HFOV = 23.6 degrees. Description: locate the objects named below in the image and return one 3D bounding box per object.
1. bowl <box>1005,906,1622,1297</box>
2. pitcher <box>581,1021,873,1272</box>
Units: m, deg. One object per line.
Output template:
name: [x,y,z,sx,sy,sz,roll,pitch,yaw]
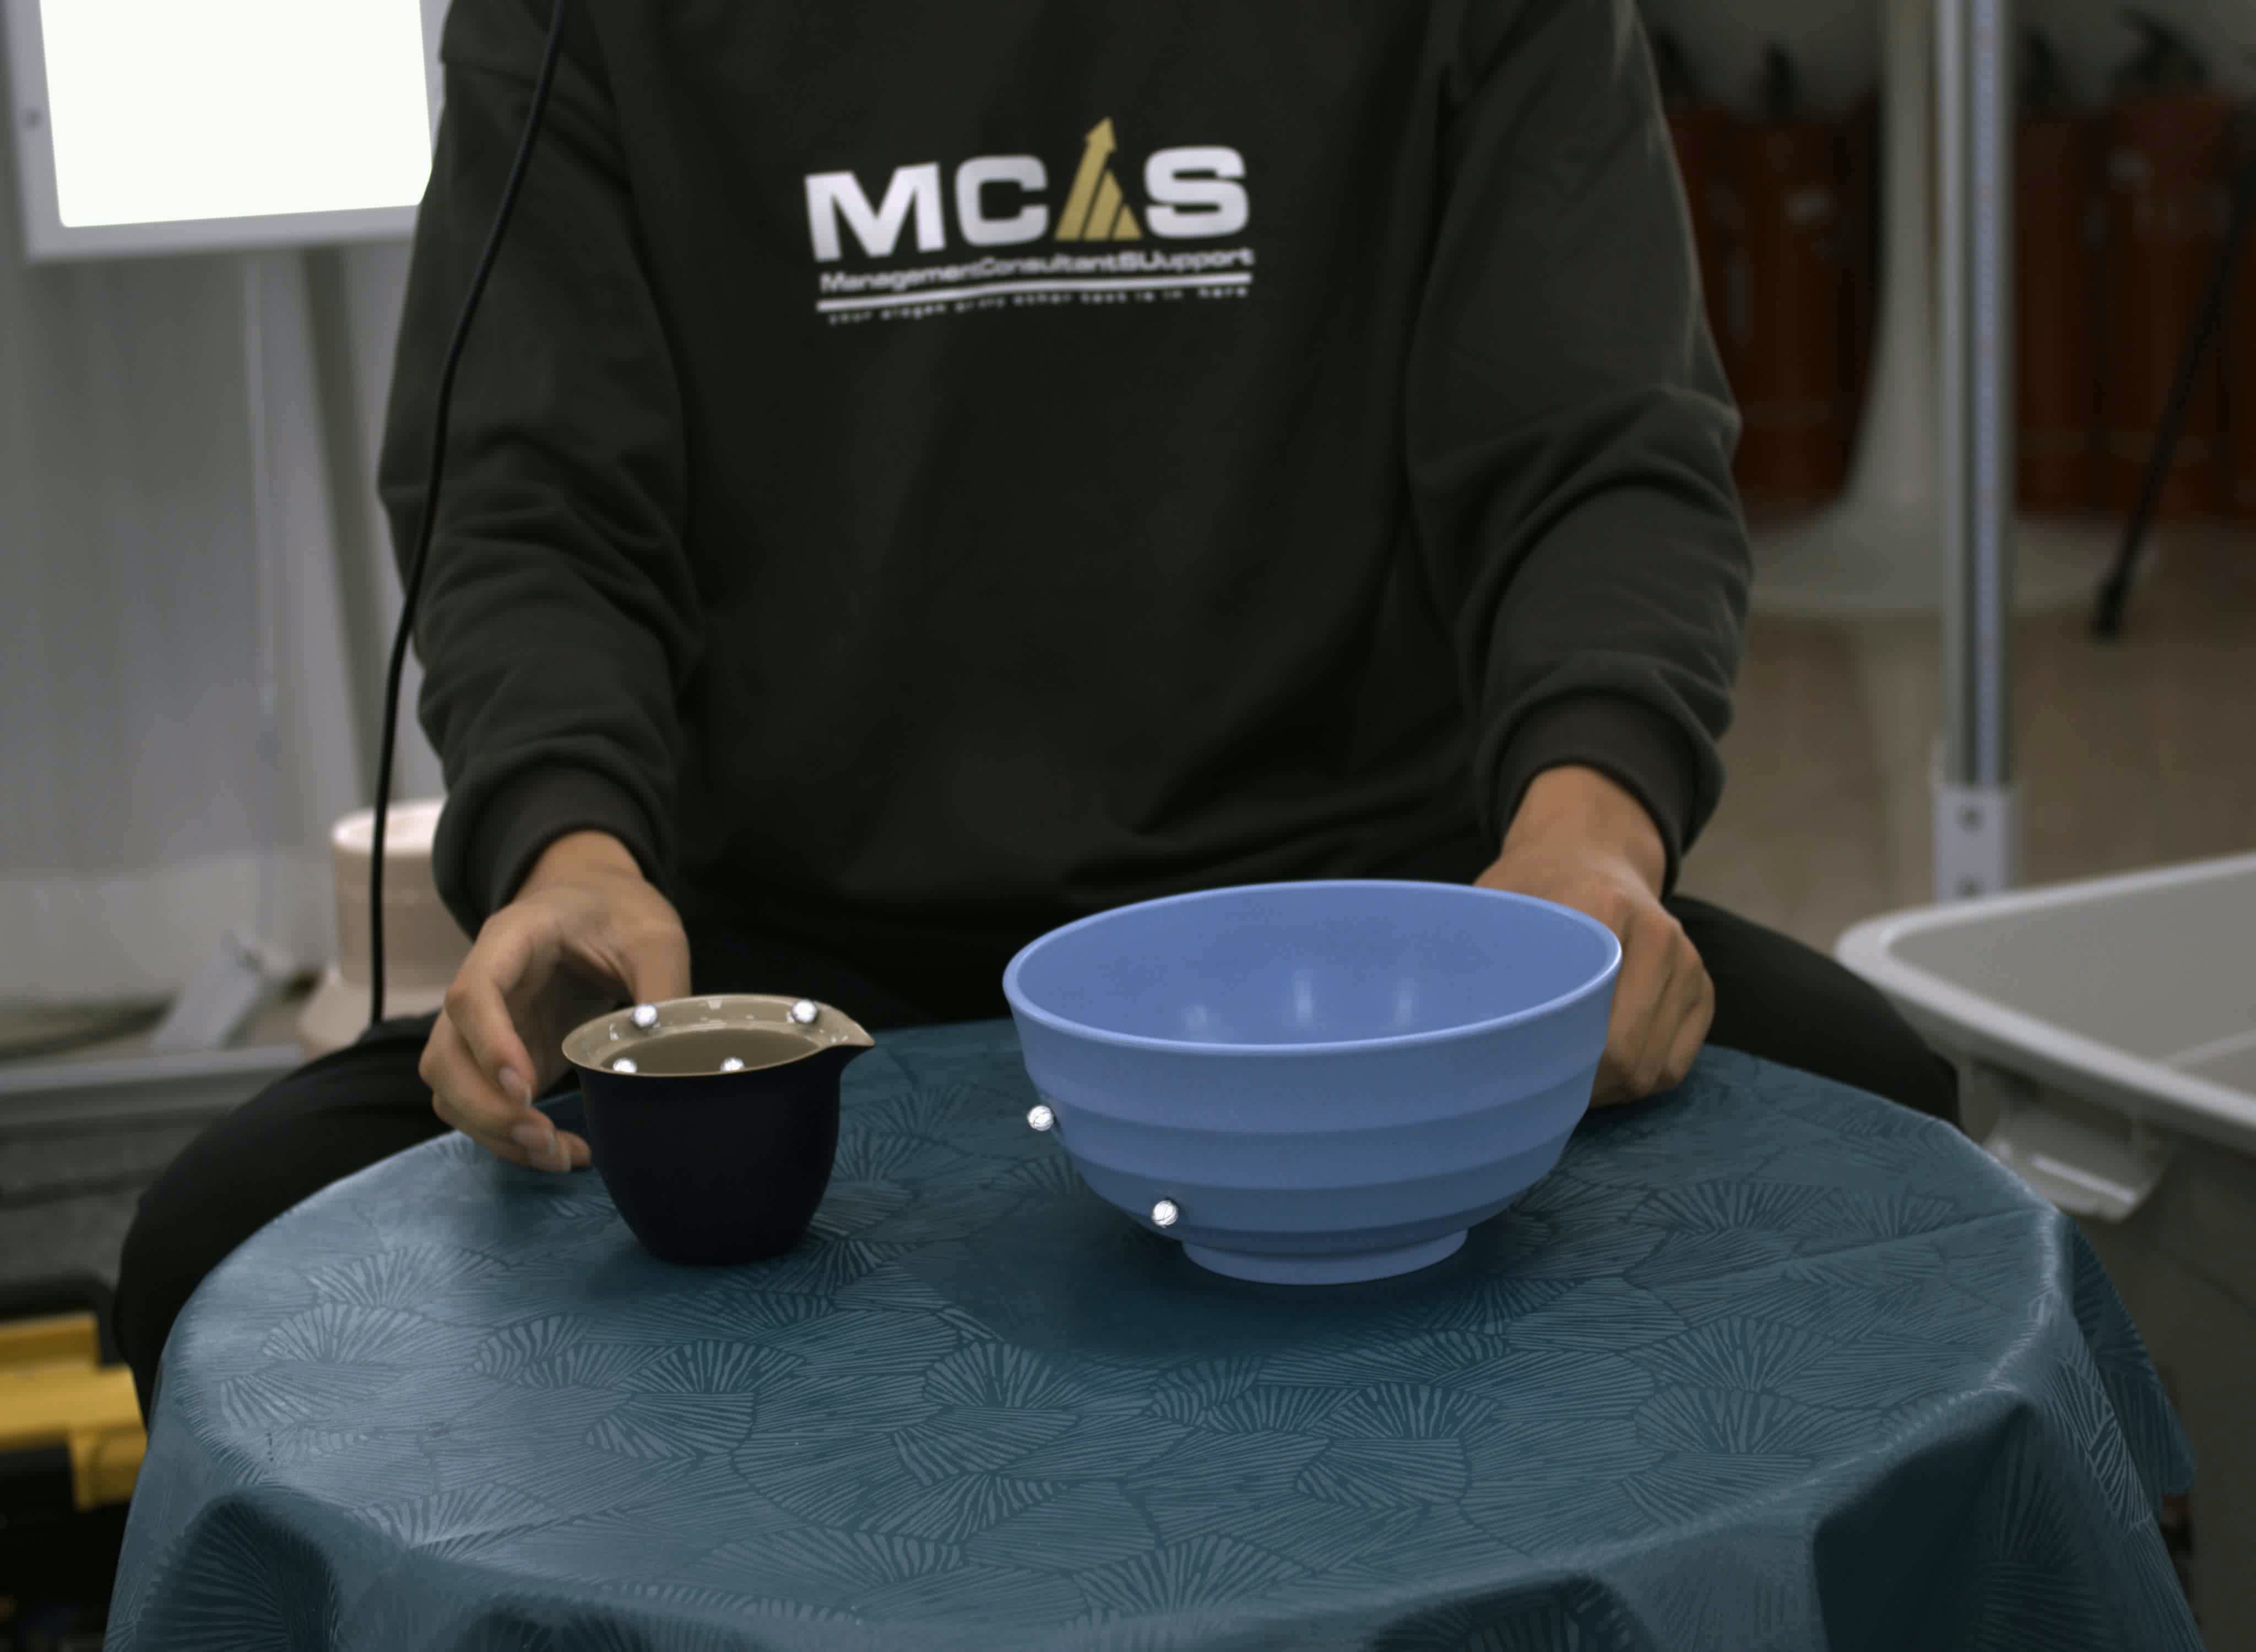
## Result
bowl: [0.060,0.090,1.702,0.194,0.096,0.197,-2,11,0]
pitcher: [-0.126,0.102,1.738,0.095,0.072,0.083,-2,12,10]
